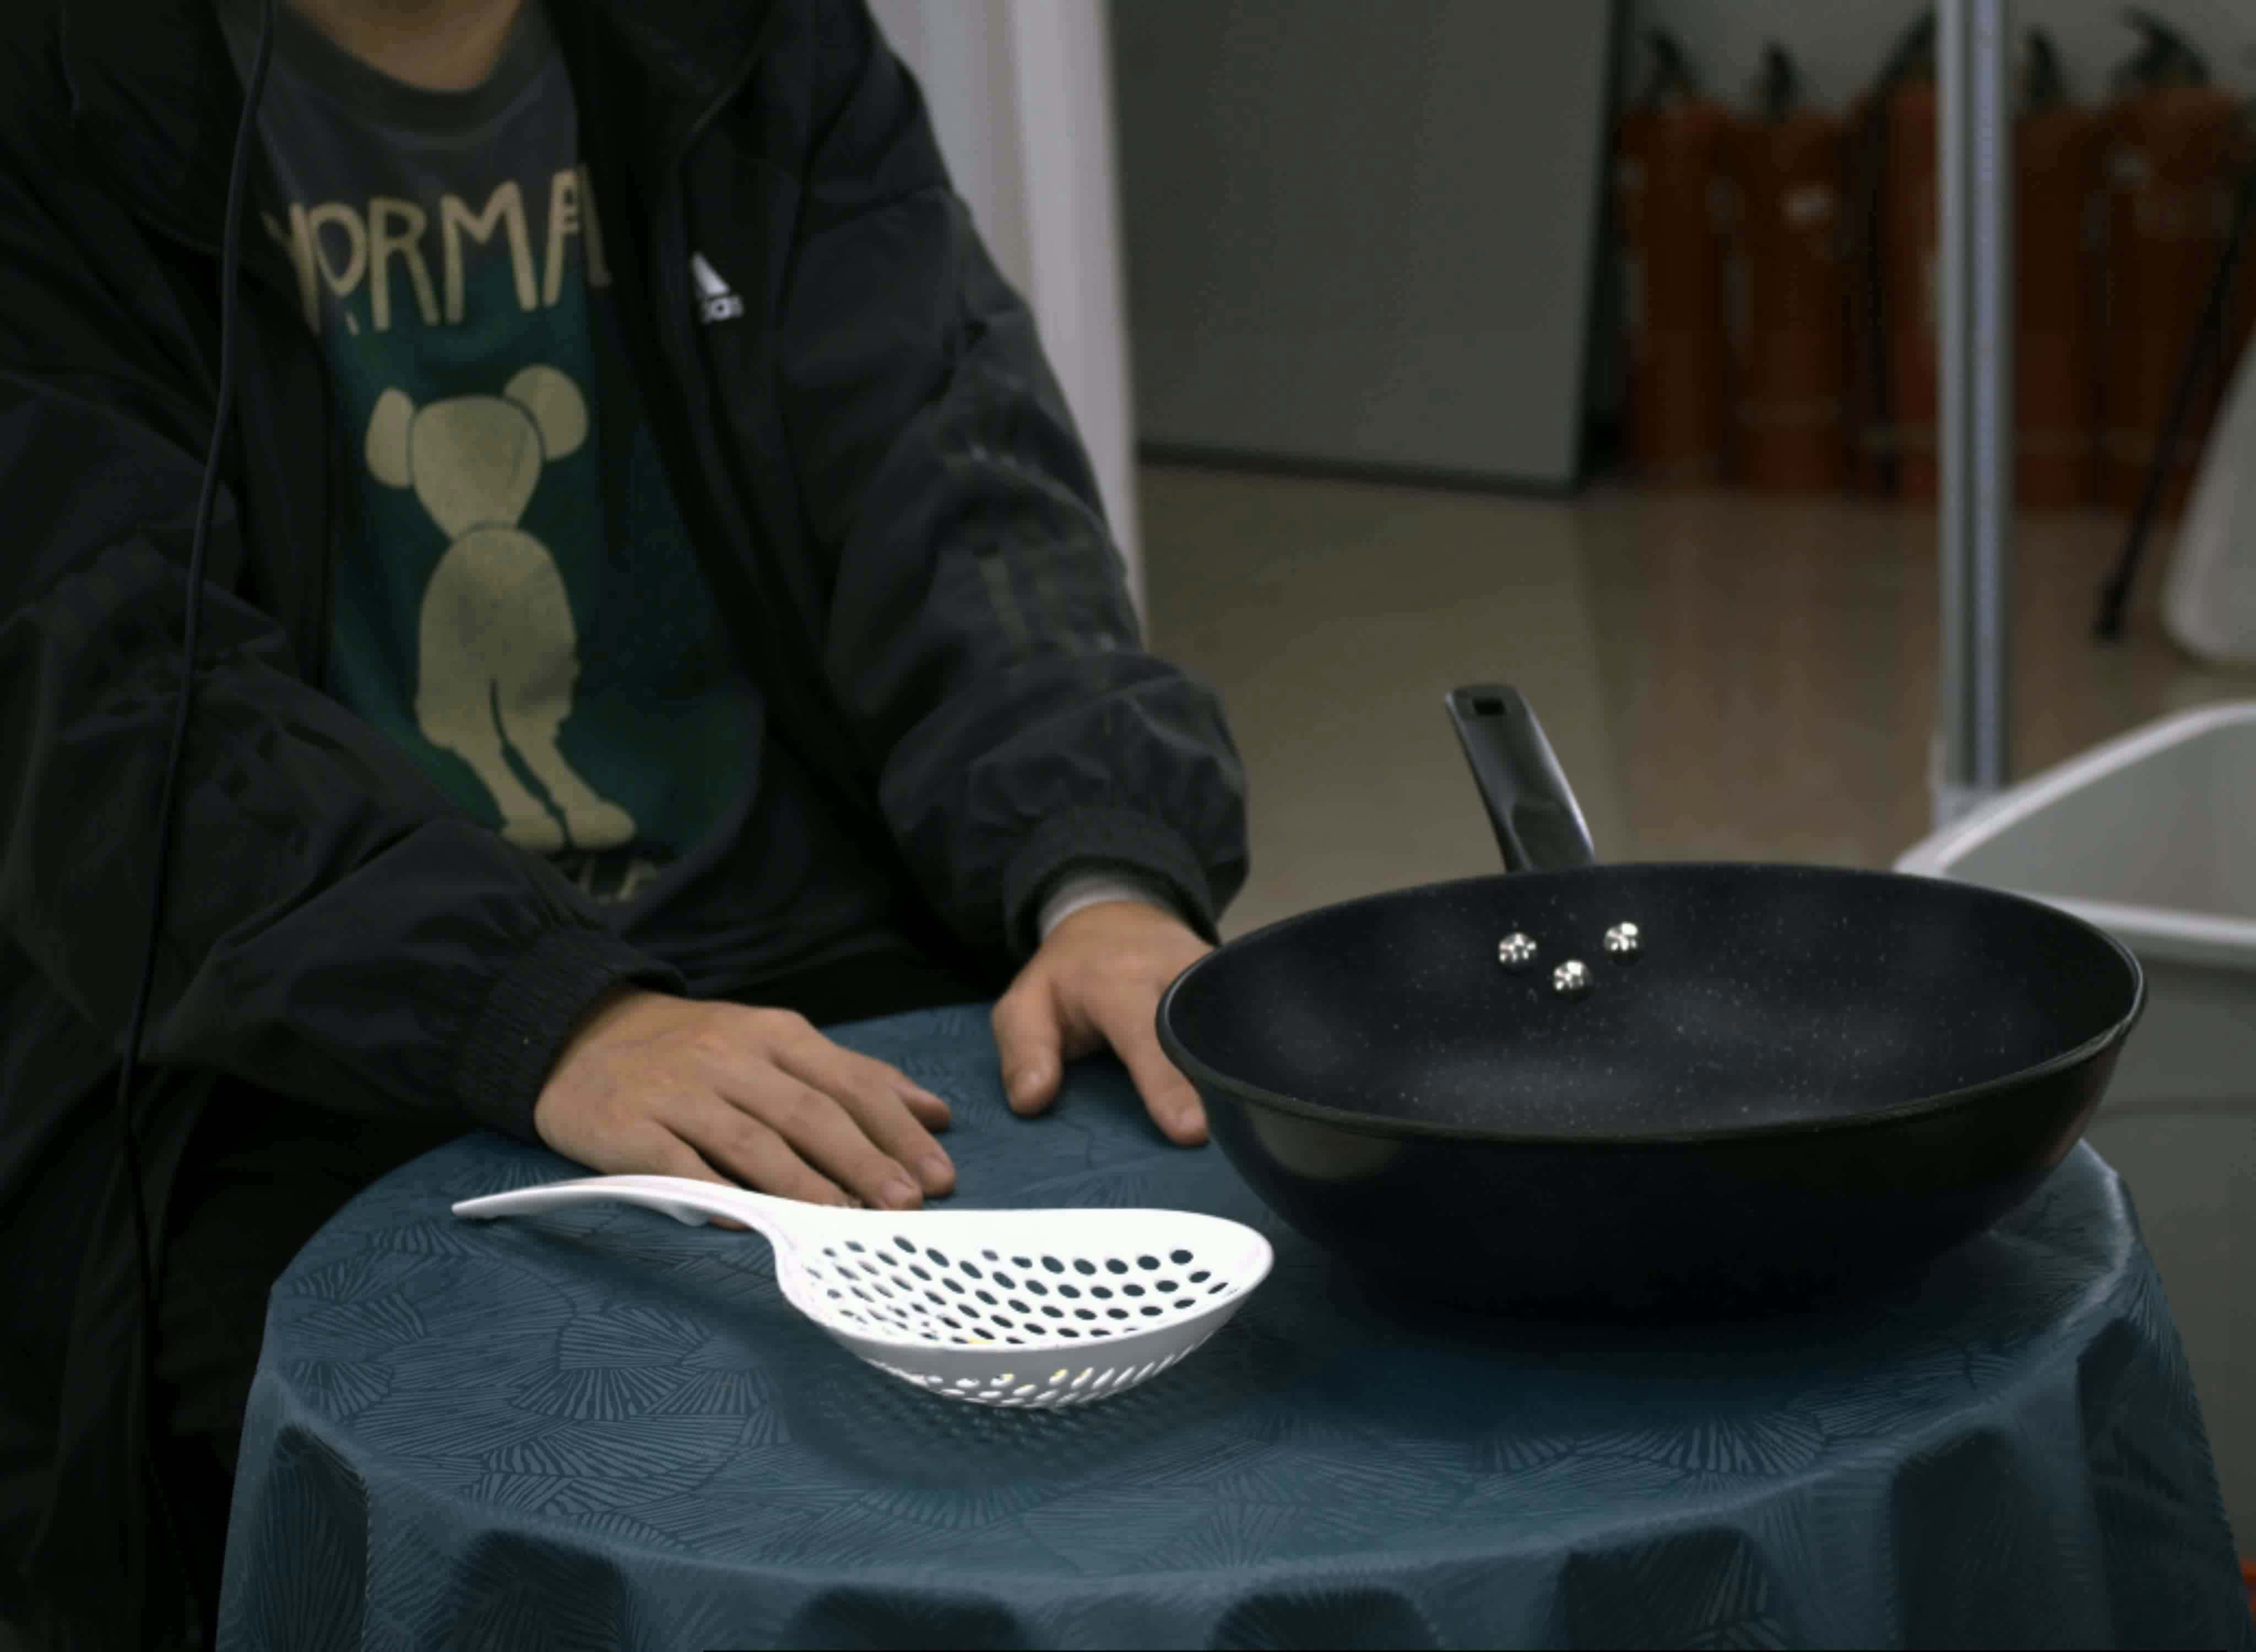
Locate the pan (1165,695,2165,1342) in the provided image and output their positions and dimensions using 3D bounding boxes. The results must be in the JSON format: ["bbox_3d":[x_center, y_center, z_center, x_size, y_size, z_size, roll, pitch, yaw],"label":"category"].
[{"bbox_3d":[0.157,0.062,1.747,0.305,0.113,0.479,-4,14,-5],"label":"pan"}]

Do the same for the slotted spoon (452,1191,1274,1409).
[{"bbox_3d":[-0.098,0.134,1.665,0.134,0.051,0.351,-18,19,-39],"label":"slotted spoon"}]
